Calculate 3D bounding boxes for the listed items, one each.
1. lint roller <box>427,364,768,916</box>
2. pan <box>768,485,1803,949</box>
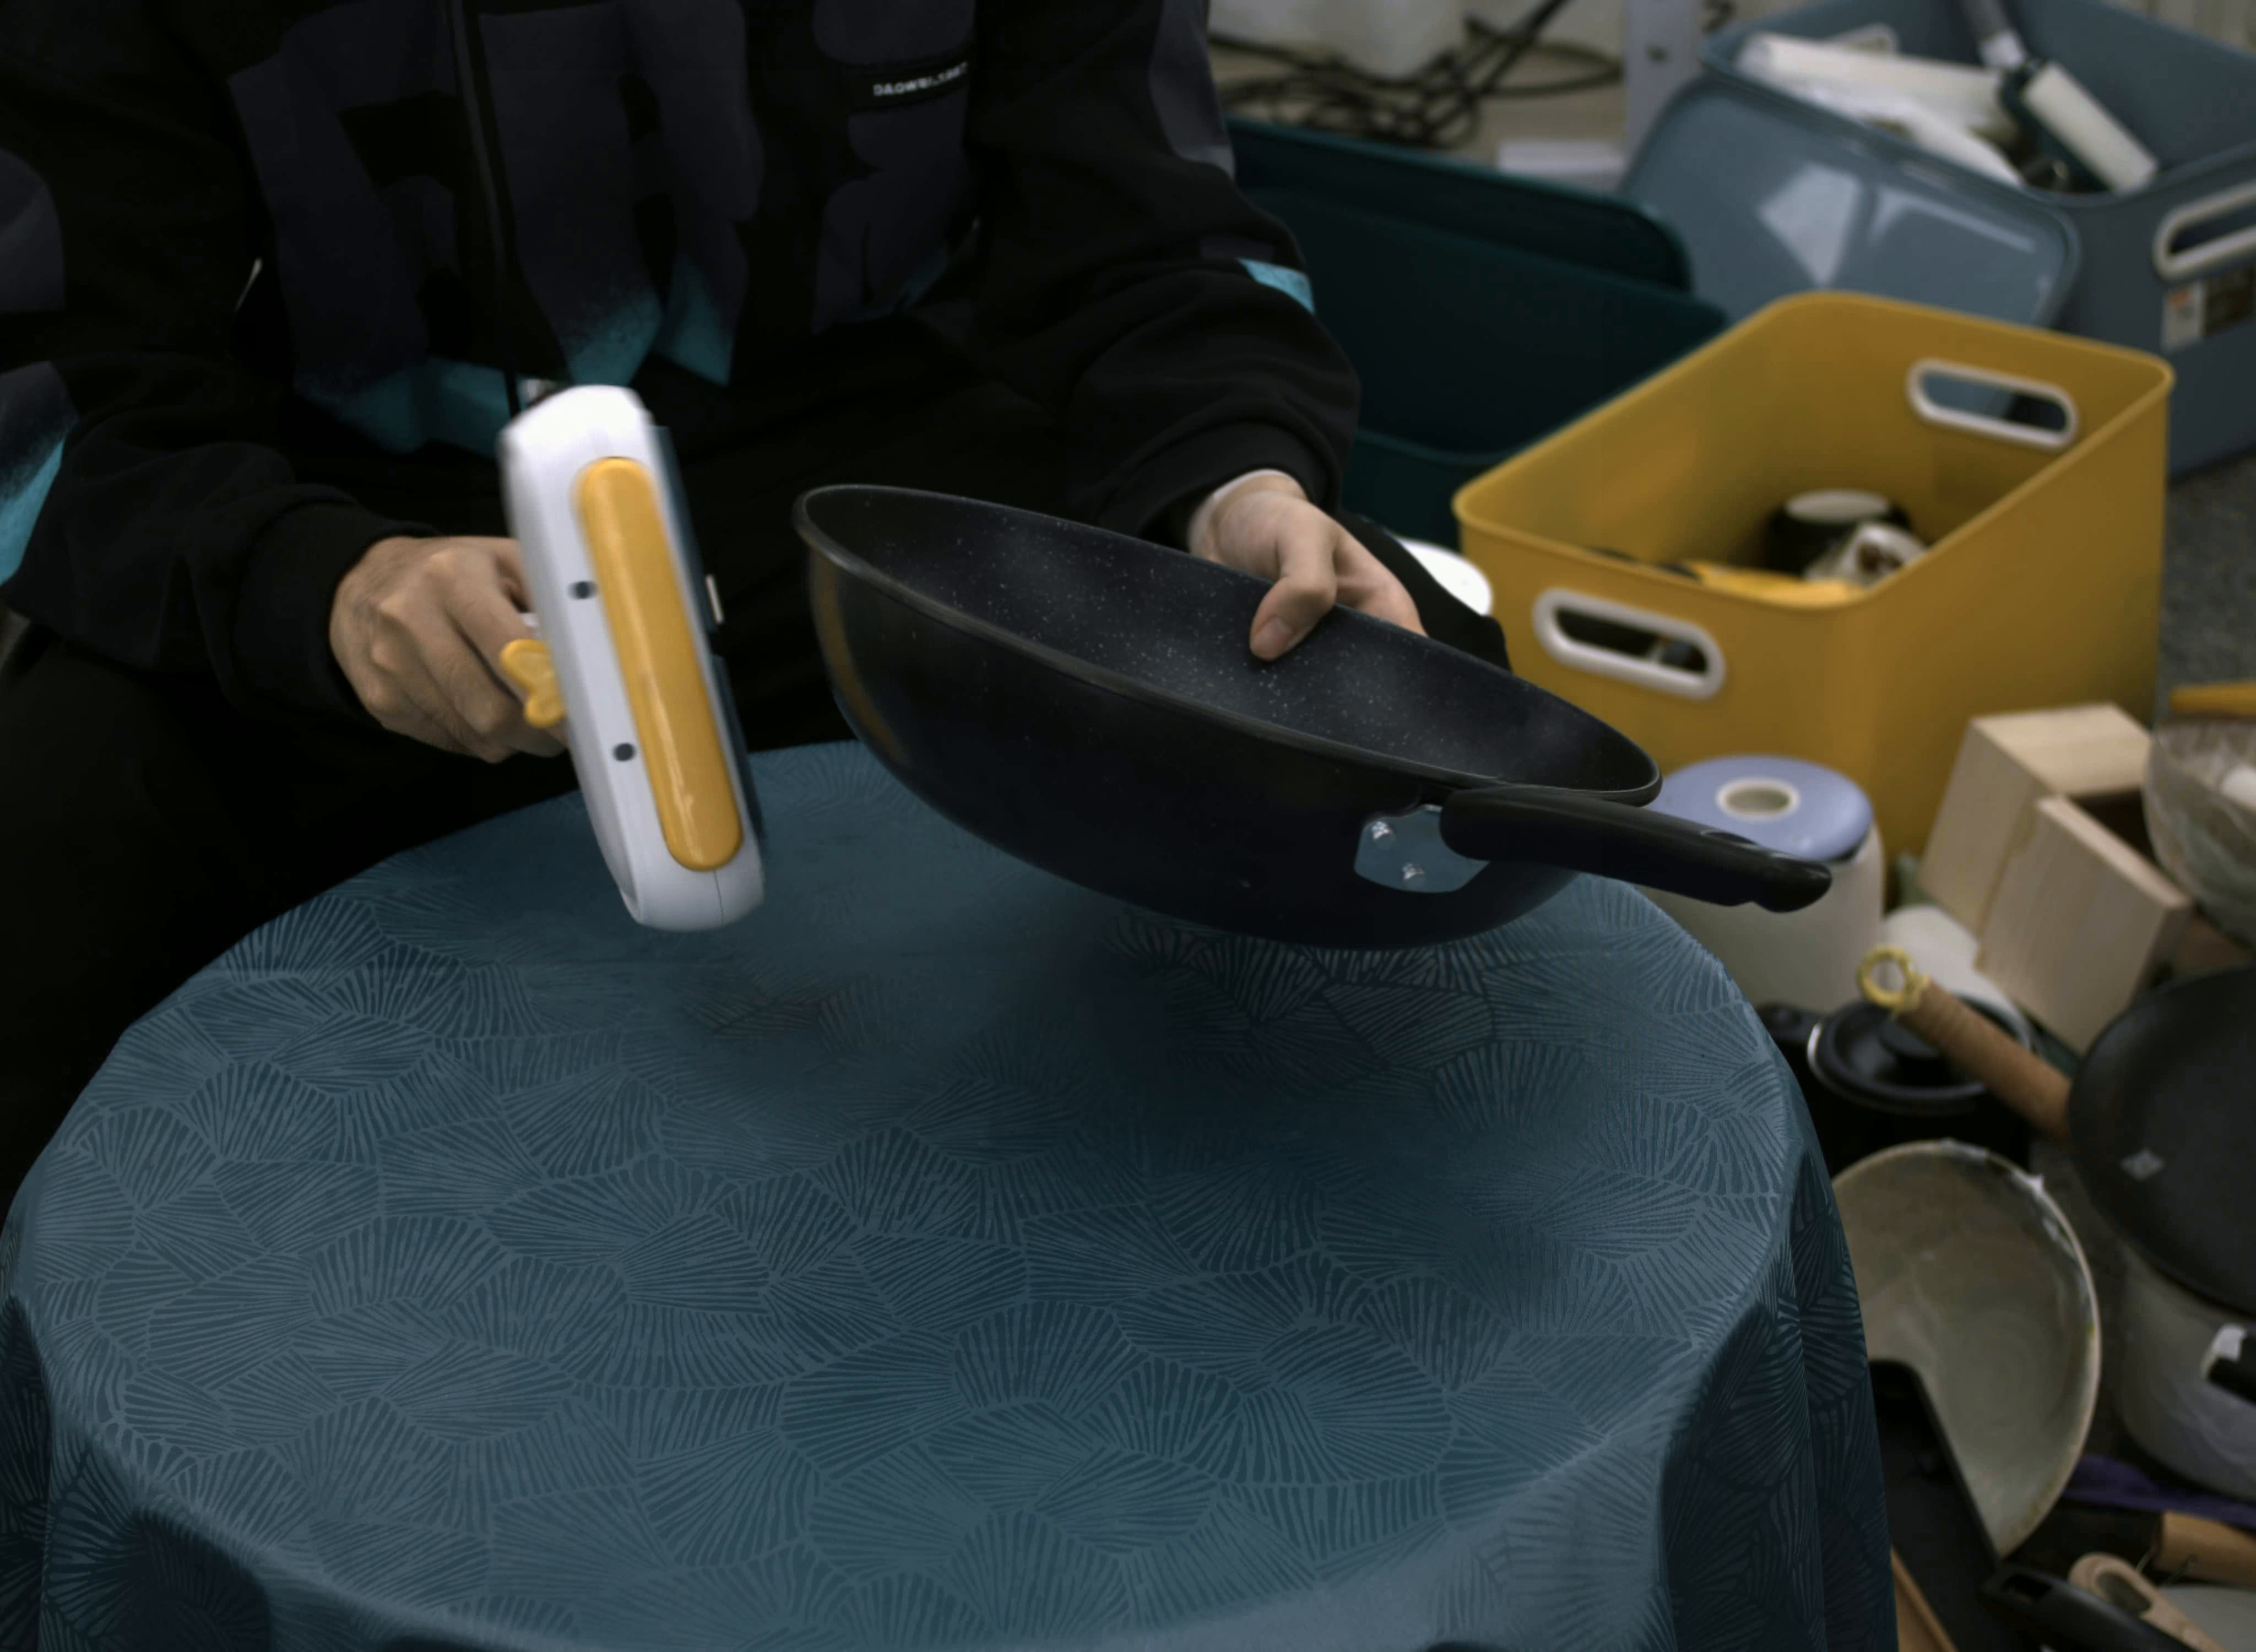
[{"bbox_3d":[-0.196,-0.059,1.992,0.074,0.193,0.191,-19,5,-21],"label":"lint roller"},{"bbox_3d":[0.061,-0.012,1.842,0.310,0.111,0.478,10,13,-33],"label":"pan"}]
